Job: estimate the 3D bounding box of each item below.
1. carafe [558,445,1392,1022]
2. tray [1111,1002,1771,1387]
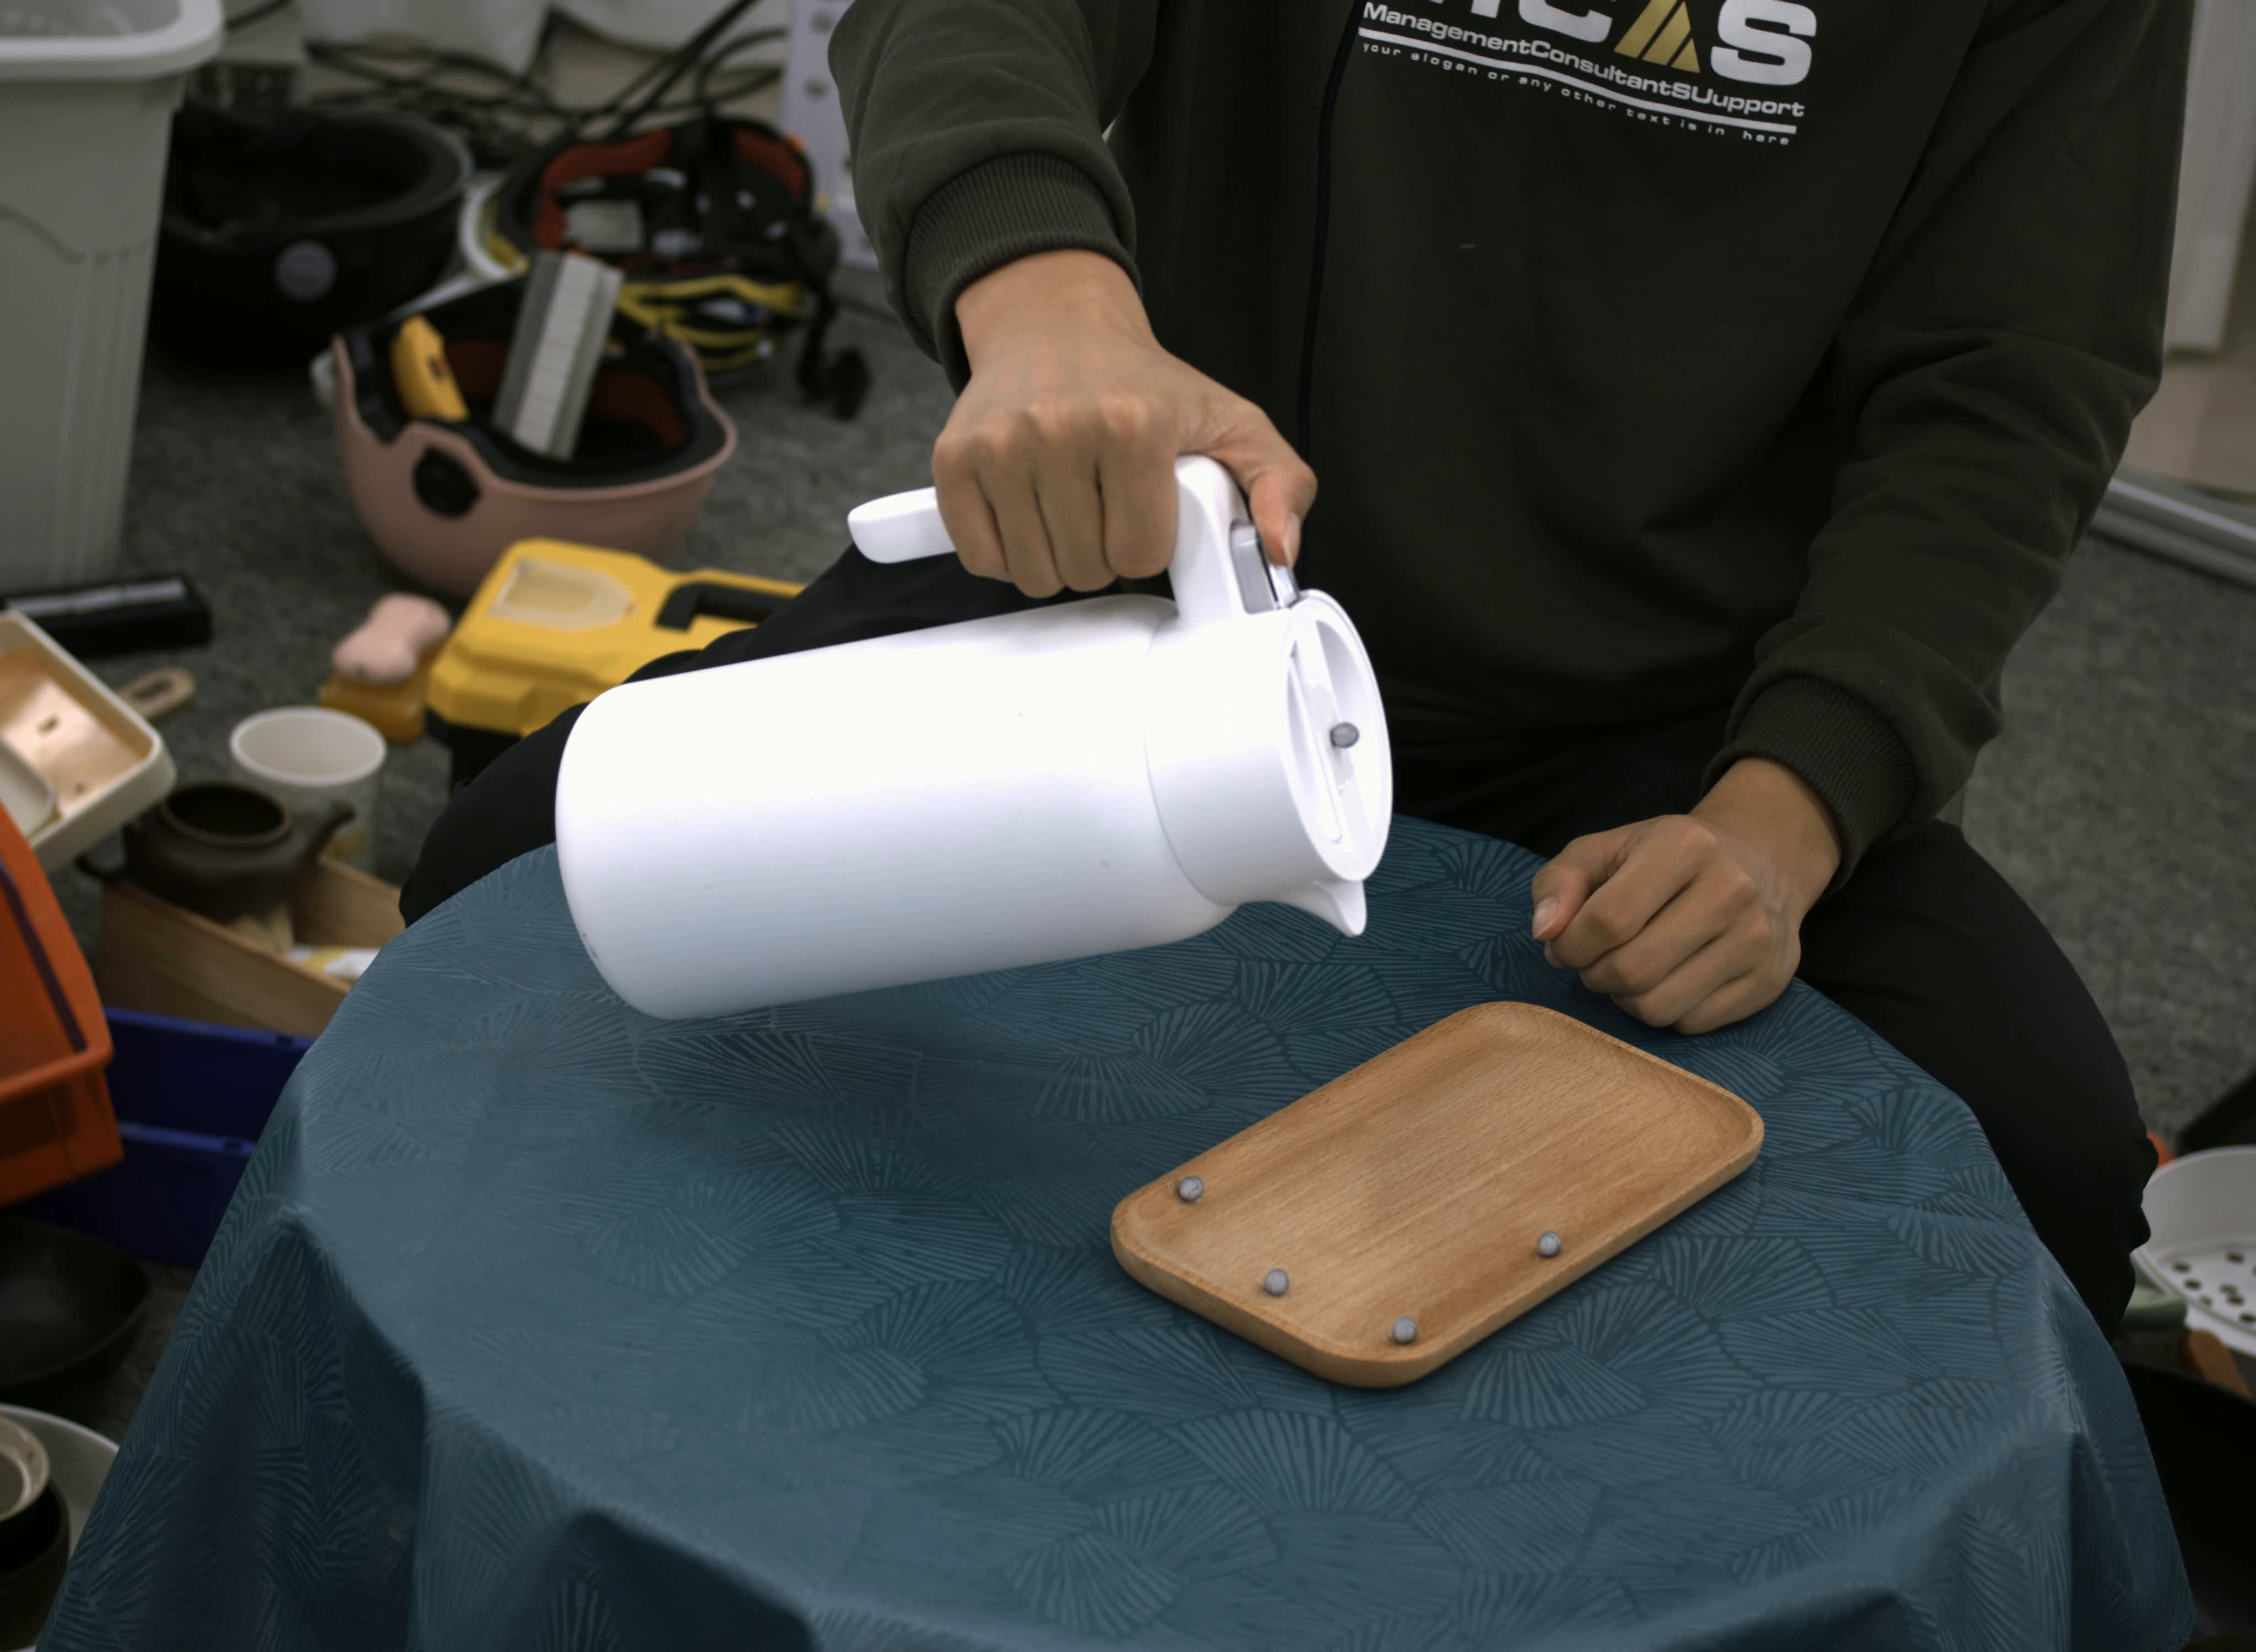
[{"bbox_3d":[-0.056,-0.025,1.779,0.269,0.172,0.124,-10,15,25],"label":"carafe"},{"bbox_3d":[0.109,0.123,1.816,0.131,0.023,0.249,28,32,31],"label":"tray"}]
